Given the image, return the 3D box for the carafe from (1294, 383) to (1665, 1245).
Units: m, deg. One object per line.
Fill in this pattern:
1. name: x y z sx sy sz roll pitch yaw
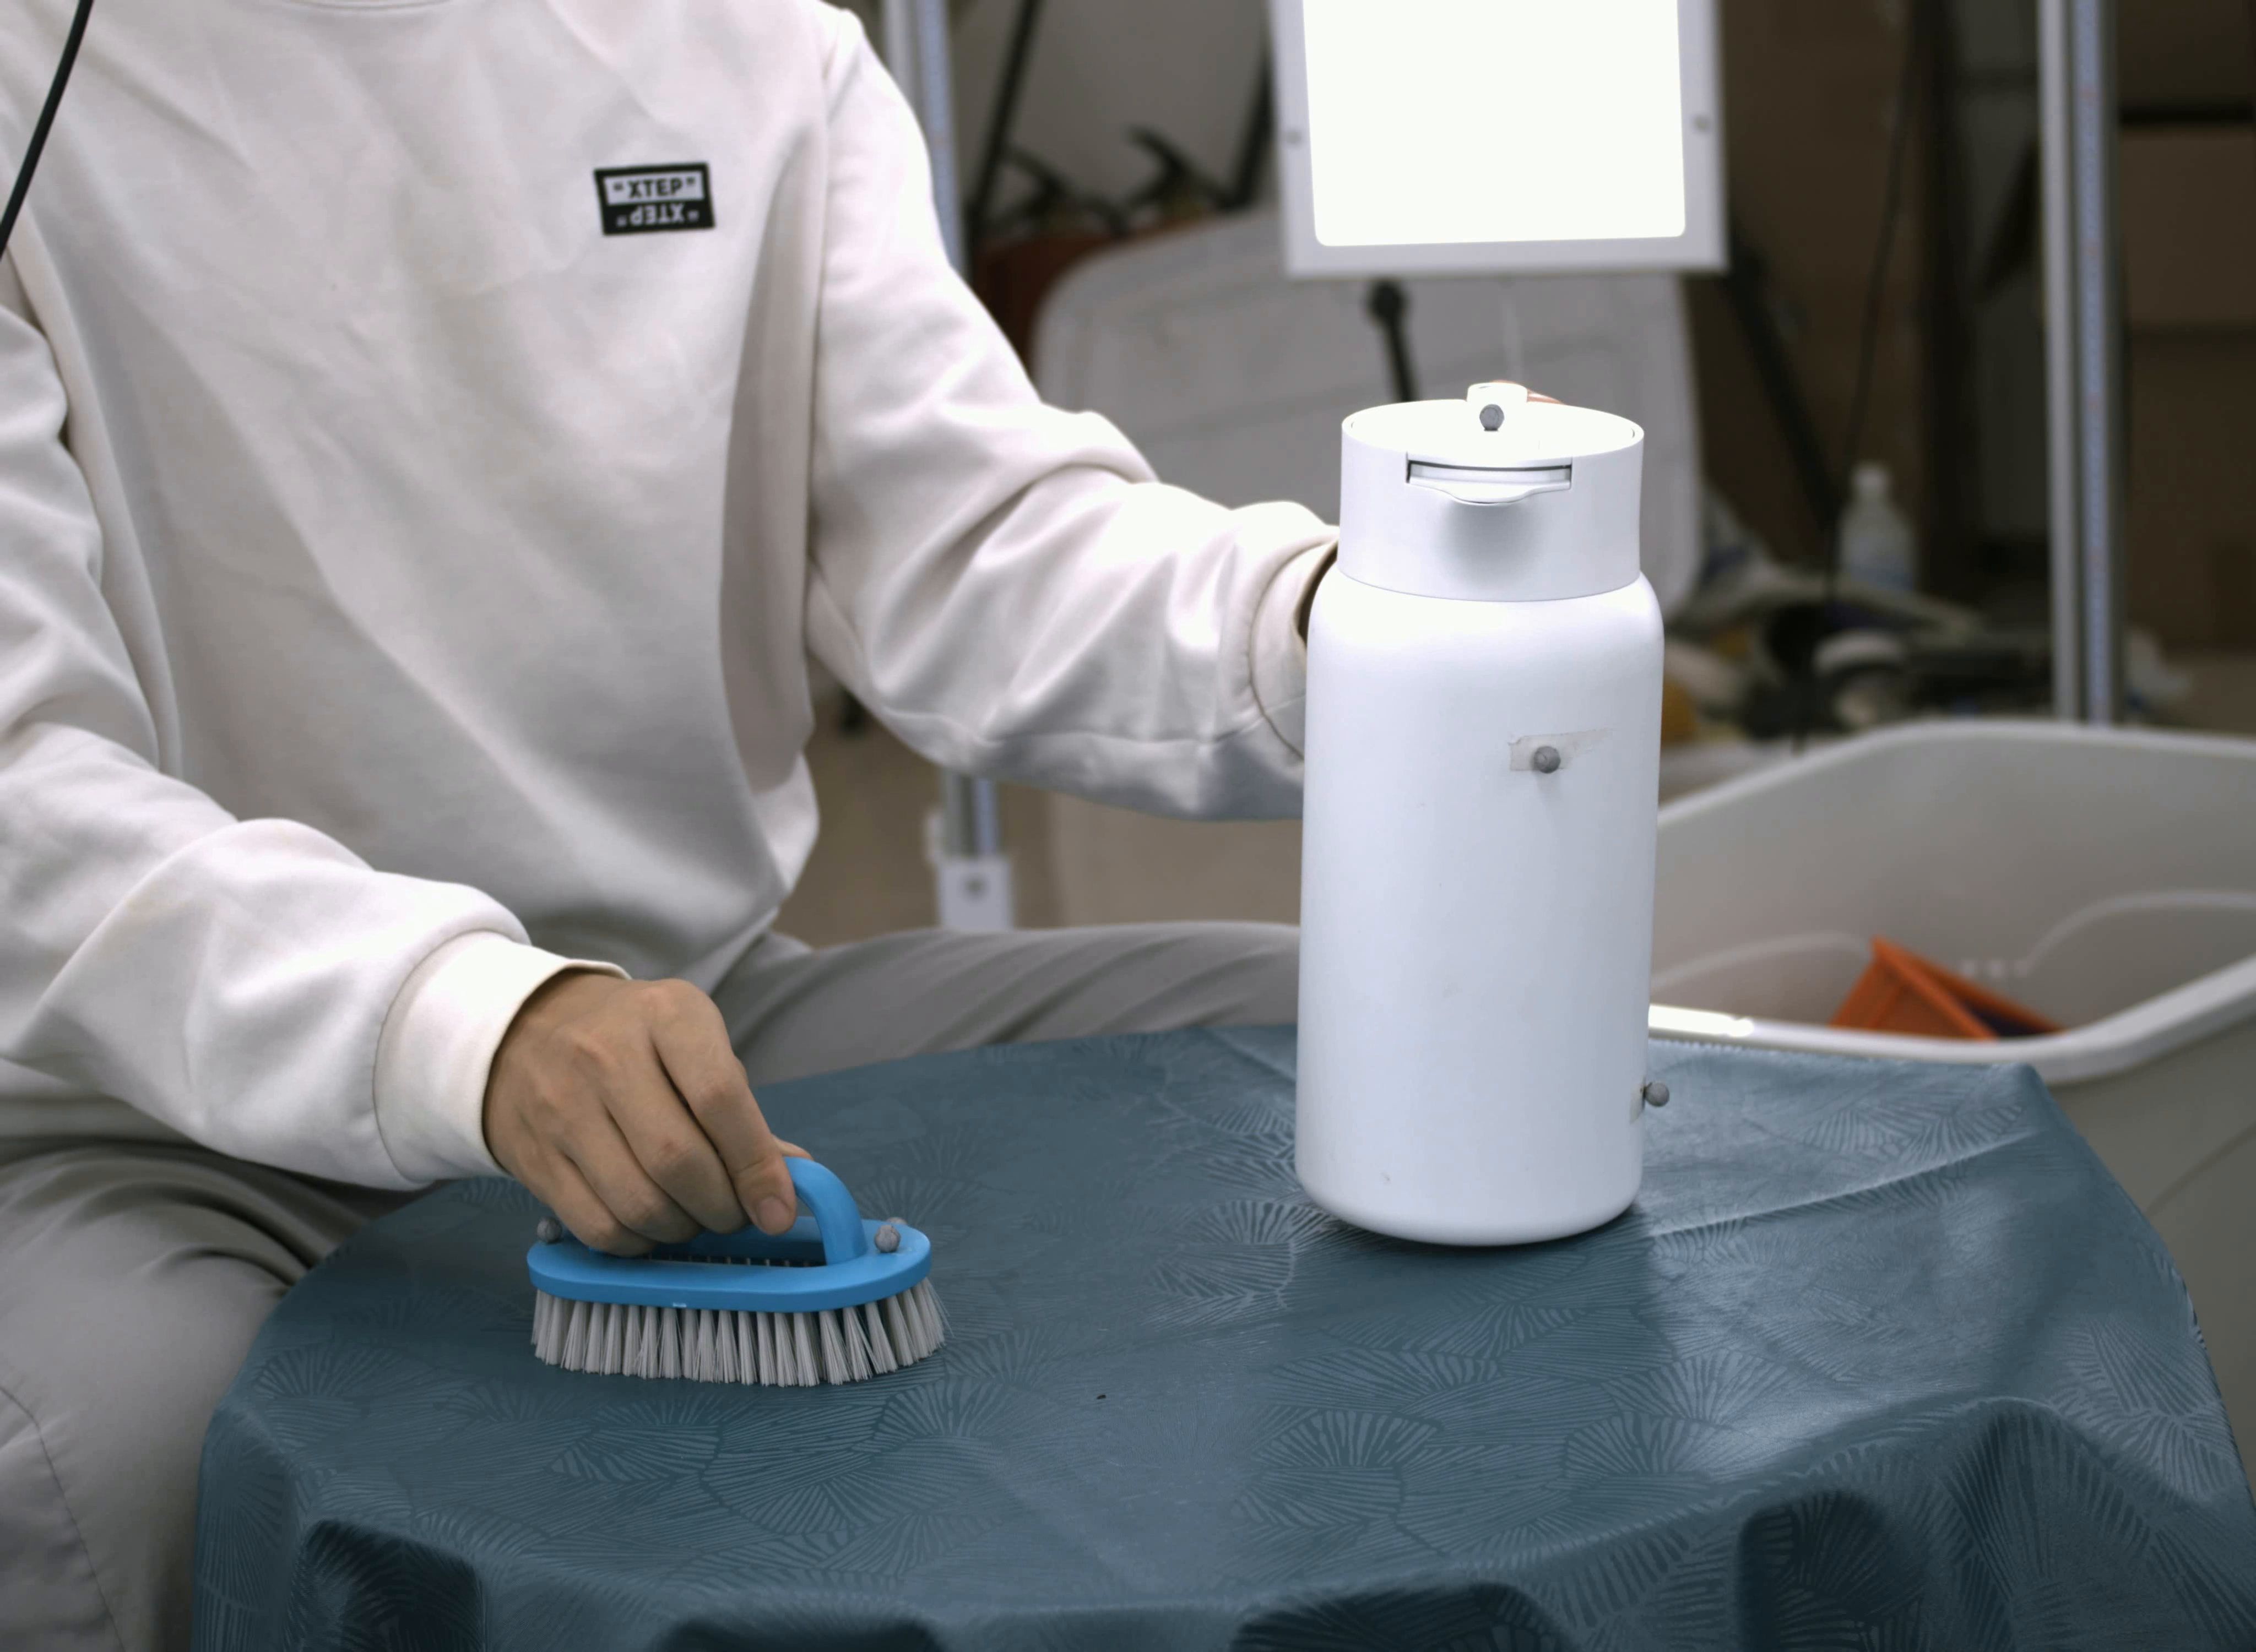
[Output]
1. carafe: 0.117 -0.008 1.828 0.124 0.270 0.171 0 15 5

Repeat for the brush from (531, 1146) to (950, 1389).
1. brush: -0.129 0.135 1.774 0.144 0.064 0.082 0 19 27
